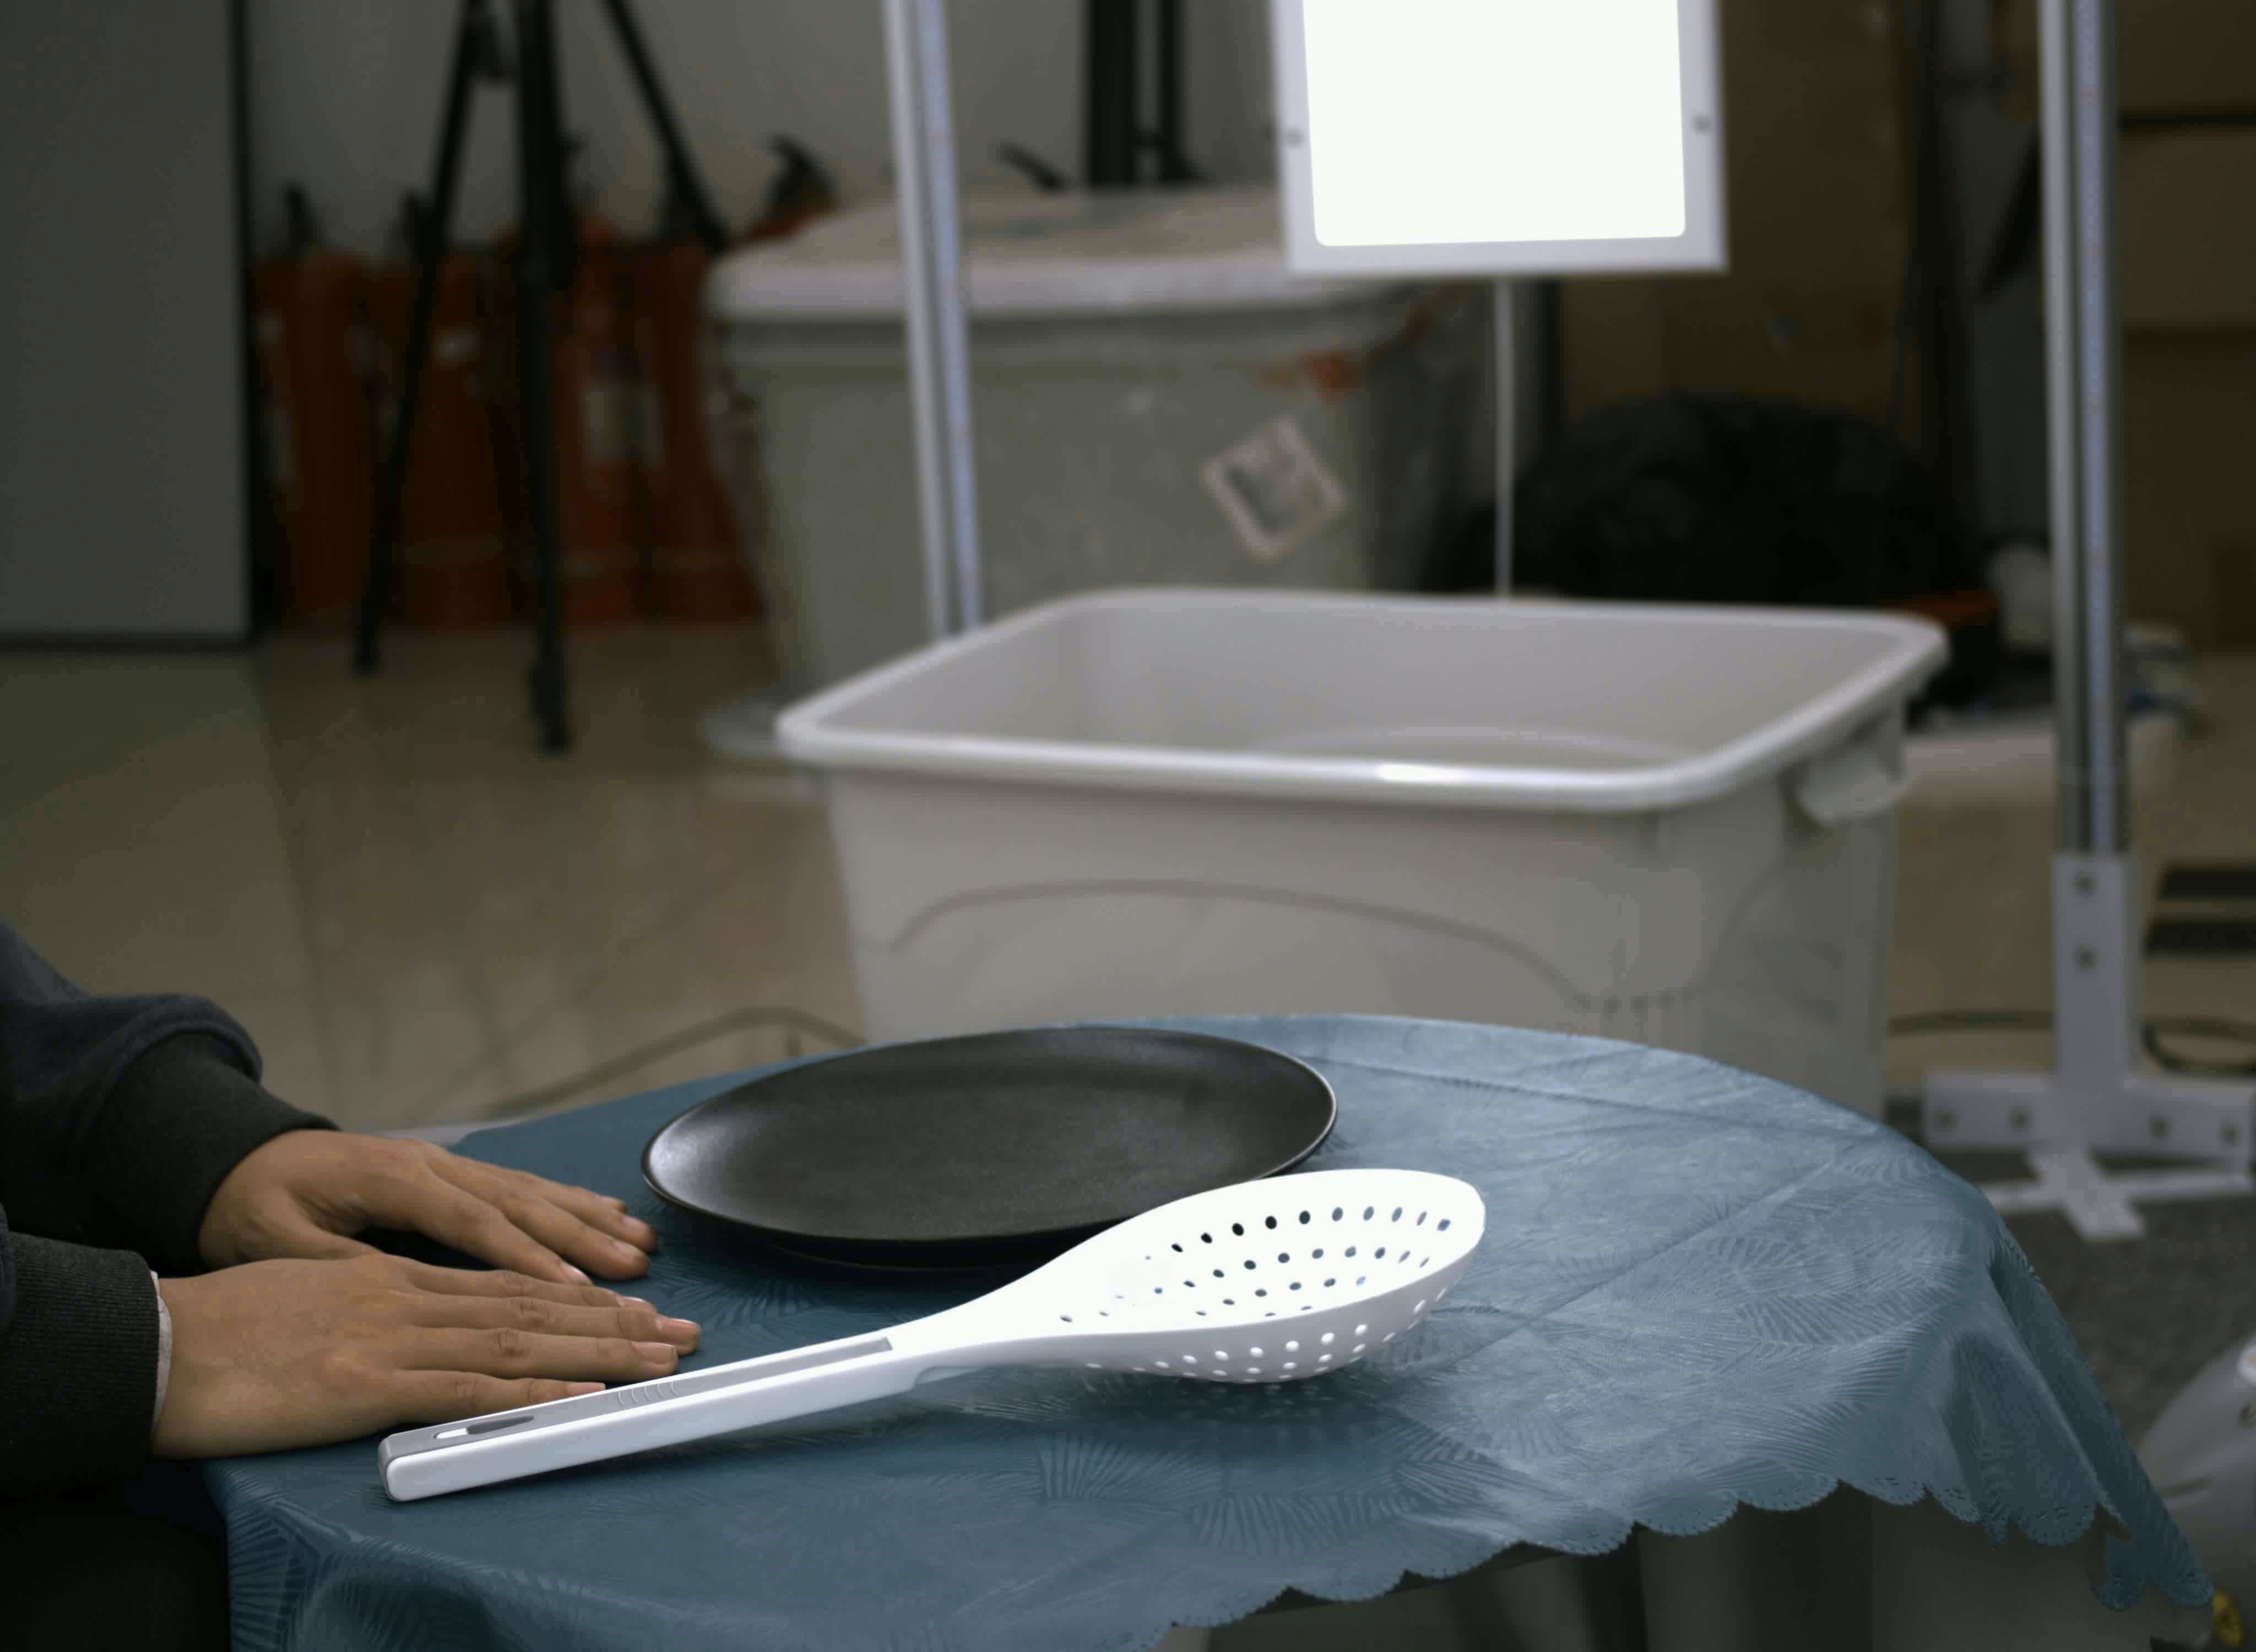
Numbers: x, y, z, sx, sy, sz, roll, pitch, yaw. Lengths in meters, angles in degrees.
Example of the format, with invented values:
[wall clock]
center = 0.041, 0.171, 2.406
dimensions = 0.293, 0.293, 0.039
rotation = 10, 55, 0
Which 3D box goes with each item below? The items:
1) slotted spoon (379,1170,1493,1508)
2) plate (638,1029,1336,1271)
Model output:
[slotted spoon]
center = -0.056, 0.159, 1.688
dimensions = 0.346, 0.046, 0.137
rotation = -8, 12, -8
[plate]
center = -0.048, 0.115, 1.913
dimensions = 0.244, 0.023, 0.244
rotation = -5, 14, 0
